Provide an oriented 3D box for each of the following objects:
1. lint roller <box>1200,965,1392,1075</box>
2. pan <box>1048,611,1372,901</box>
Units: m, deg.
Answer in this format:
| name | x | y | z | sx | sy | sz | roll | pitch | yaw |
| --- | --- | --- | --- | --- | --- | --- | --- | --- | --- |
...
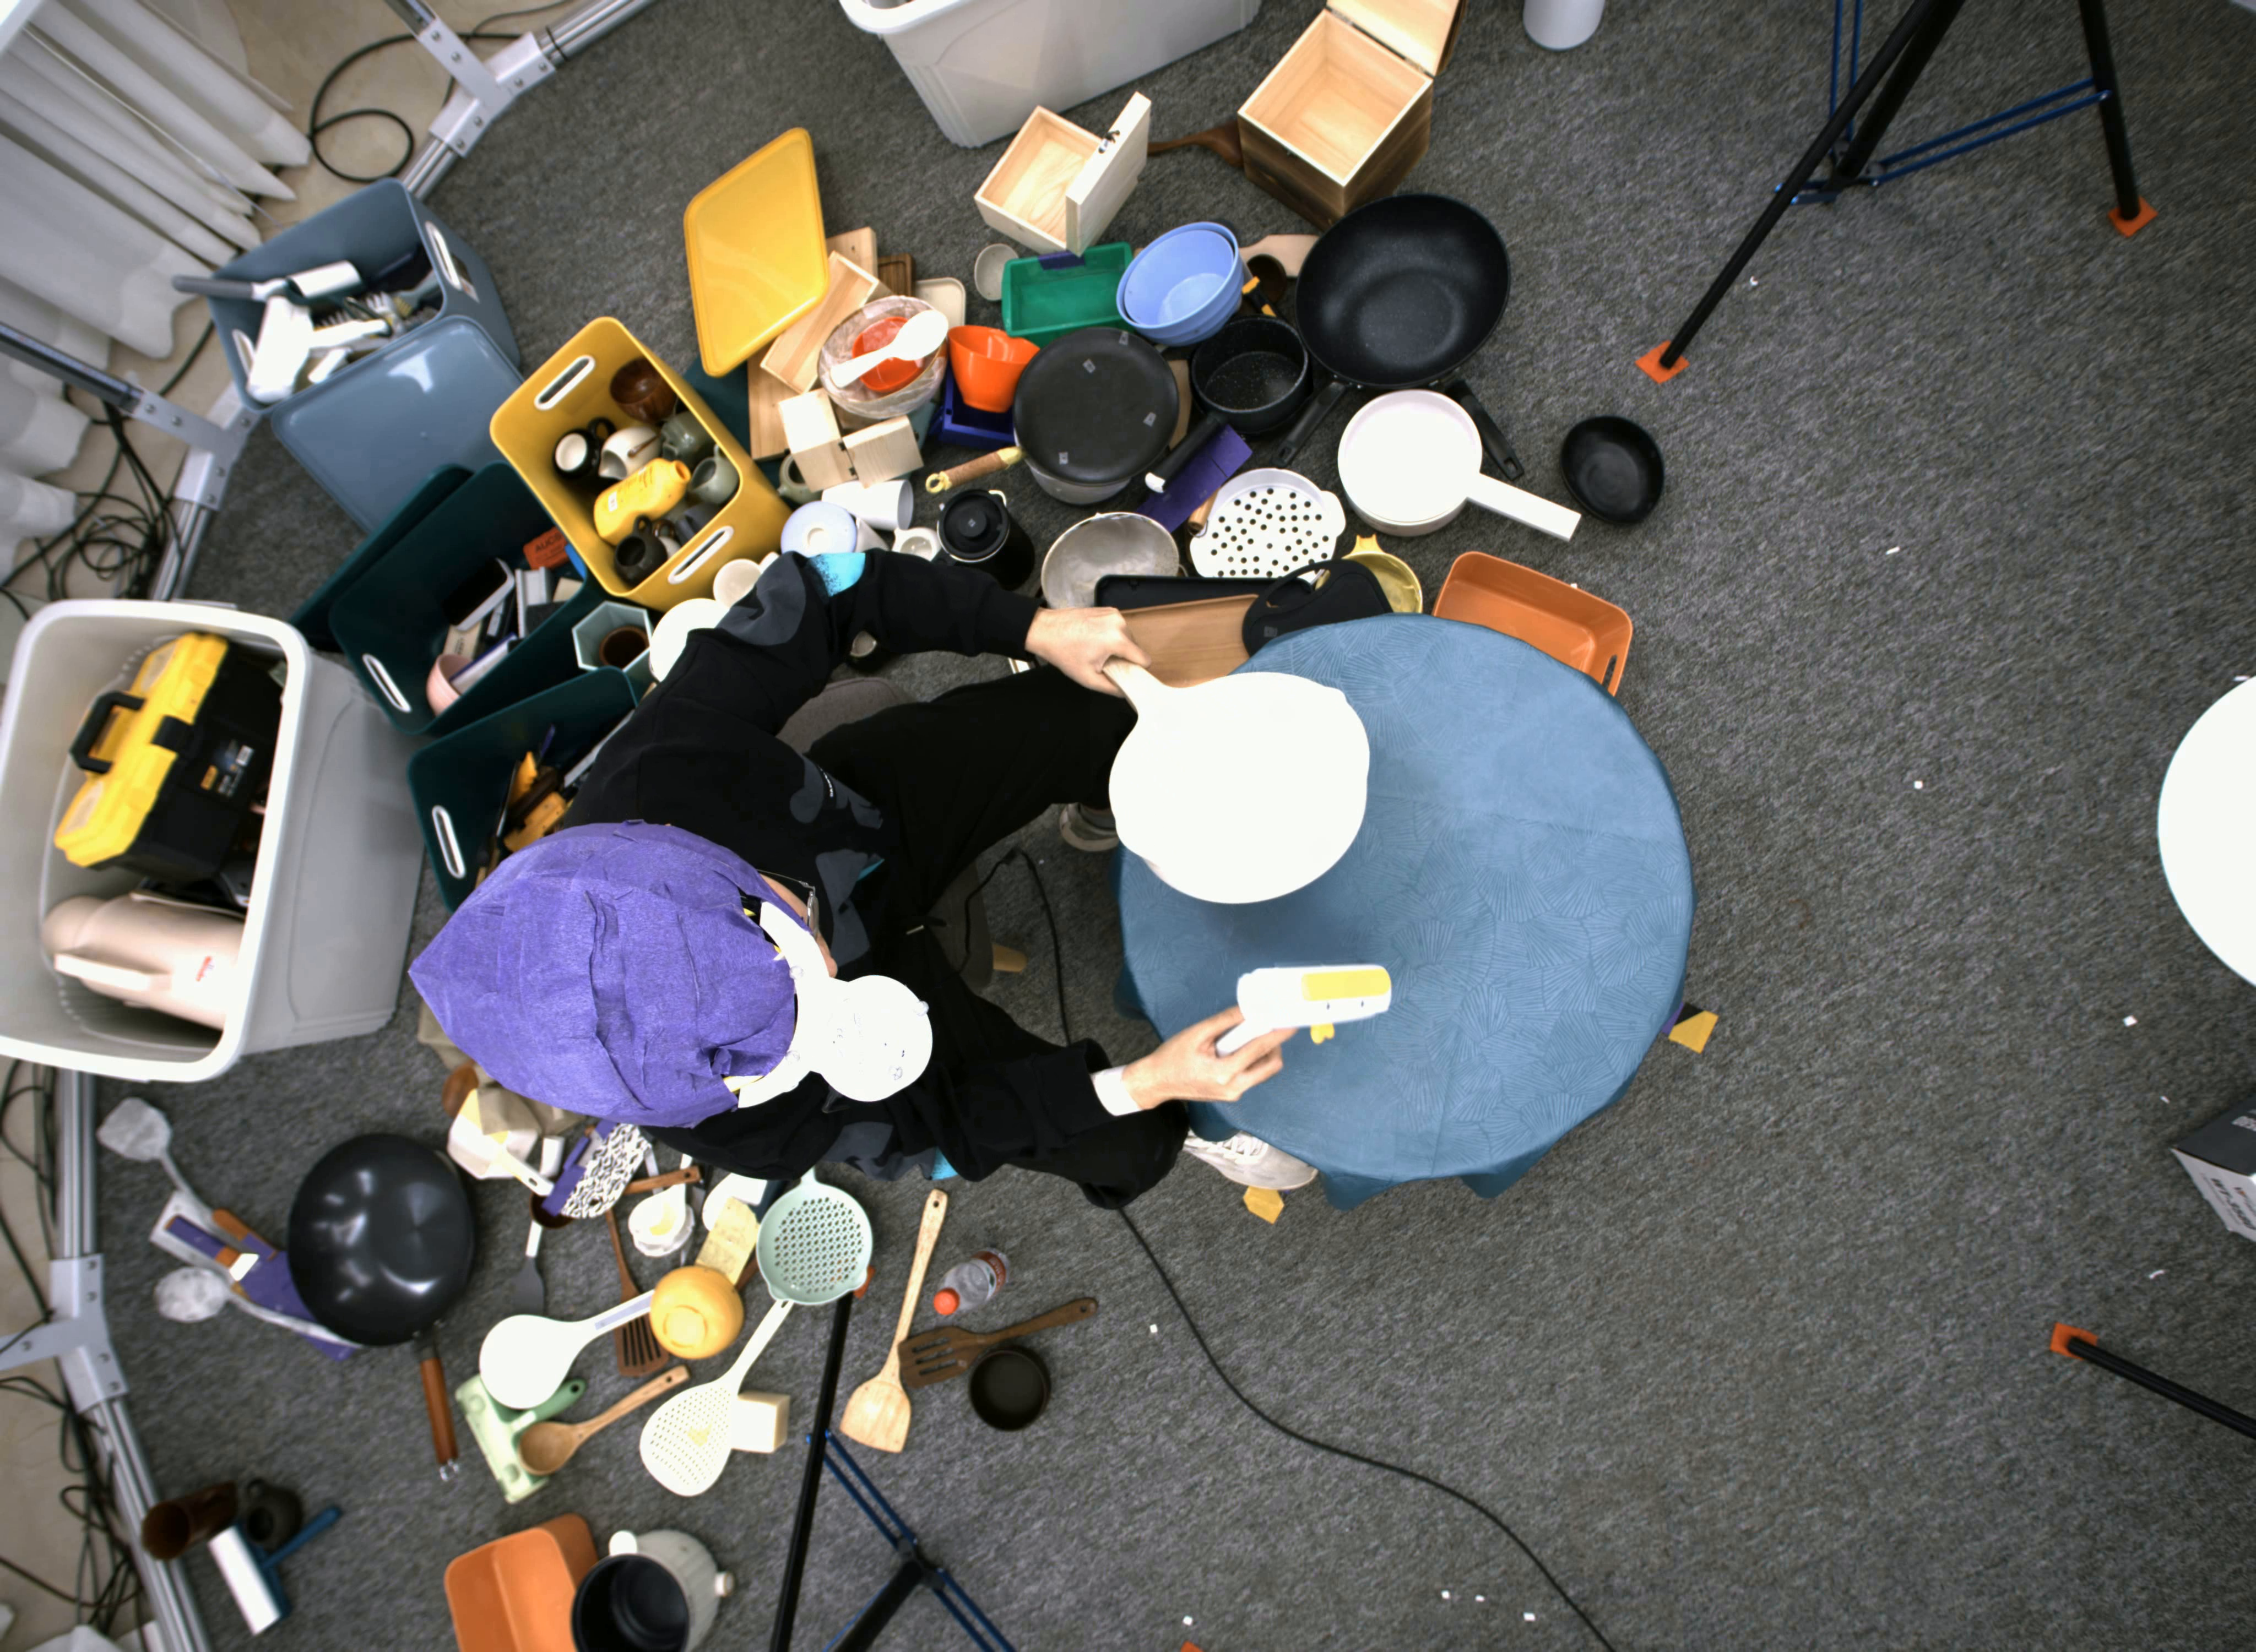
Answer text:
| name | x | y | z | sx | sy | sz | roll | pitch | yaw |
| --- | --- | --- | --- | --- | --- | --- | --- | --- | --- |
| lint roller | 0.137 | 0.187 | 1.323 | 0.196 | 0.191 | 0.073 | -27 | 75 | 42 |
| pan | 0.061 | -0.088 | 1.387 | 0.261 | 0.104 | 0.429 | -39 | 51 | -10 |
